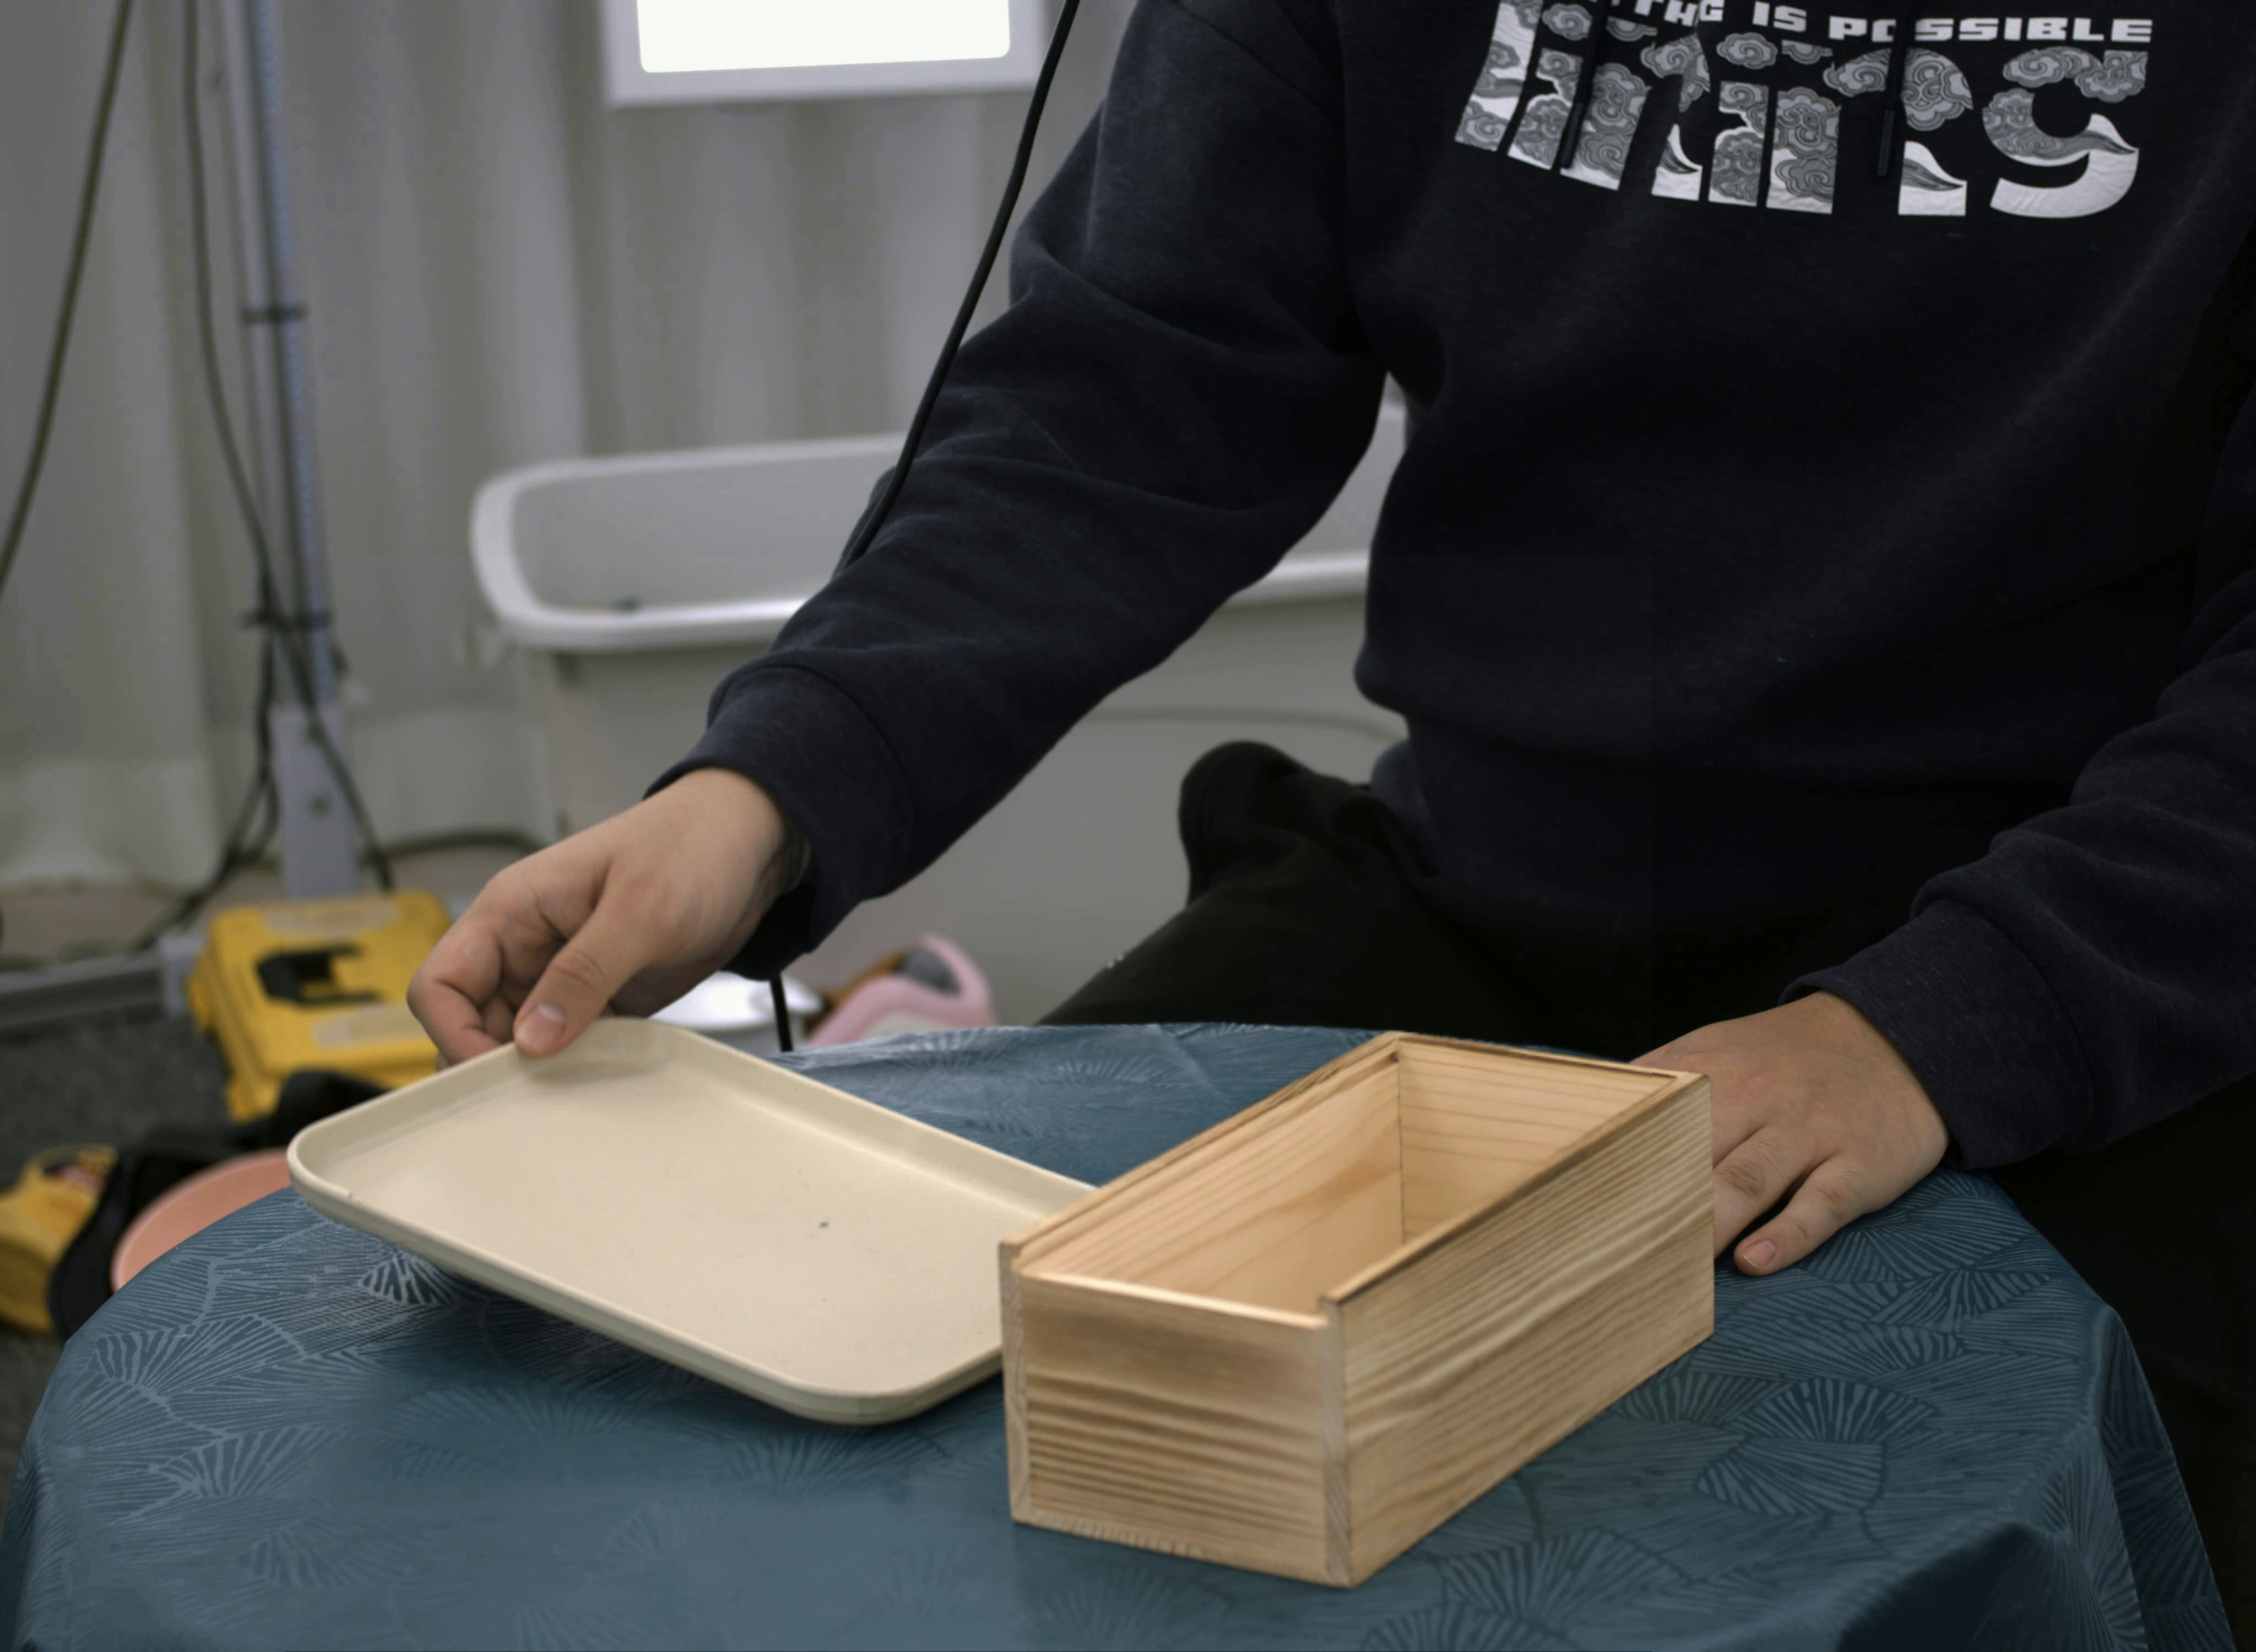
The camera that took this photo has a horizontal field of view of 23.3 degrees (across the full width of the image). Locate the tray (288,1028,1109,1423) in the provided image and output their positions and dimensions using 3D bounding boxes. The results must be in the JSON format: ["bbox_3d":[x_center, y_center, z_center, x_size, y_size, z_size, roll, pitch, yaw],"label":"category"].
[{"bbox_3d":[-0.118,0.118,1.632,0.241,0.017,0.171,18,23,32],"label":"tray"}]

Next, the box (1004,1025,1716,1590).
[{"bbox_3d":[0.068,0.128,1.503,0.108,0.080,0.211,7,17,31],"label":"box"}]
